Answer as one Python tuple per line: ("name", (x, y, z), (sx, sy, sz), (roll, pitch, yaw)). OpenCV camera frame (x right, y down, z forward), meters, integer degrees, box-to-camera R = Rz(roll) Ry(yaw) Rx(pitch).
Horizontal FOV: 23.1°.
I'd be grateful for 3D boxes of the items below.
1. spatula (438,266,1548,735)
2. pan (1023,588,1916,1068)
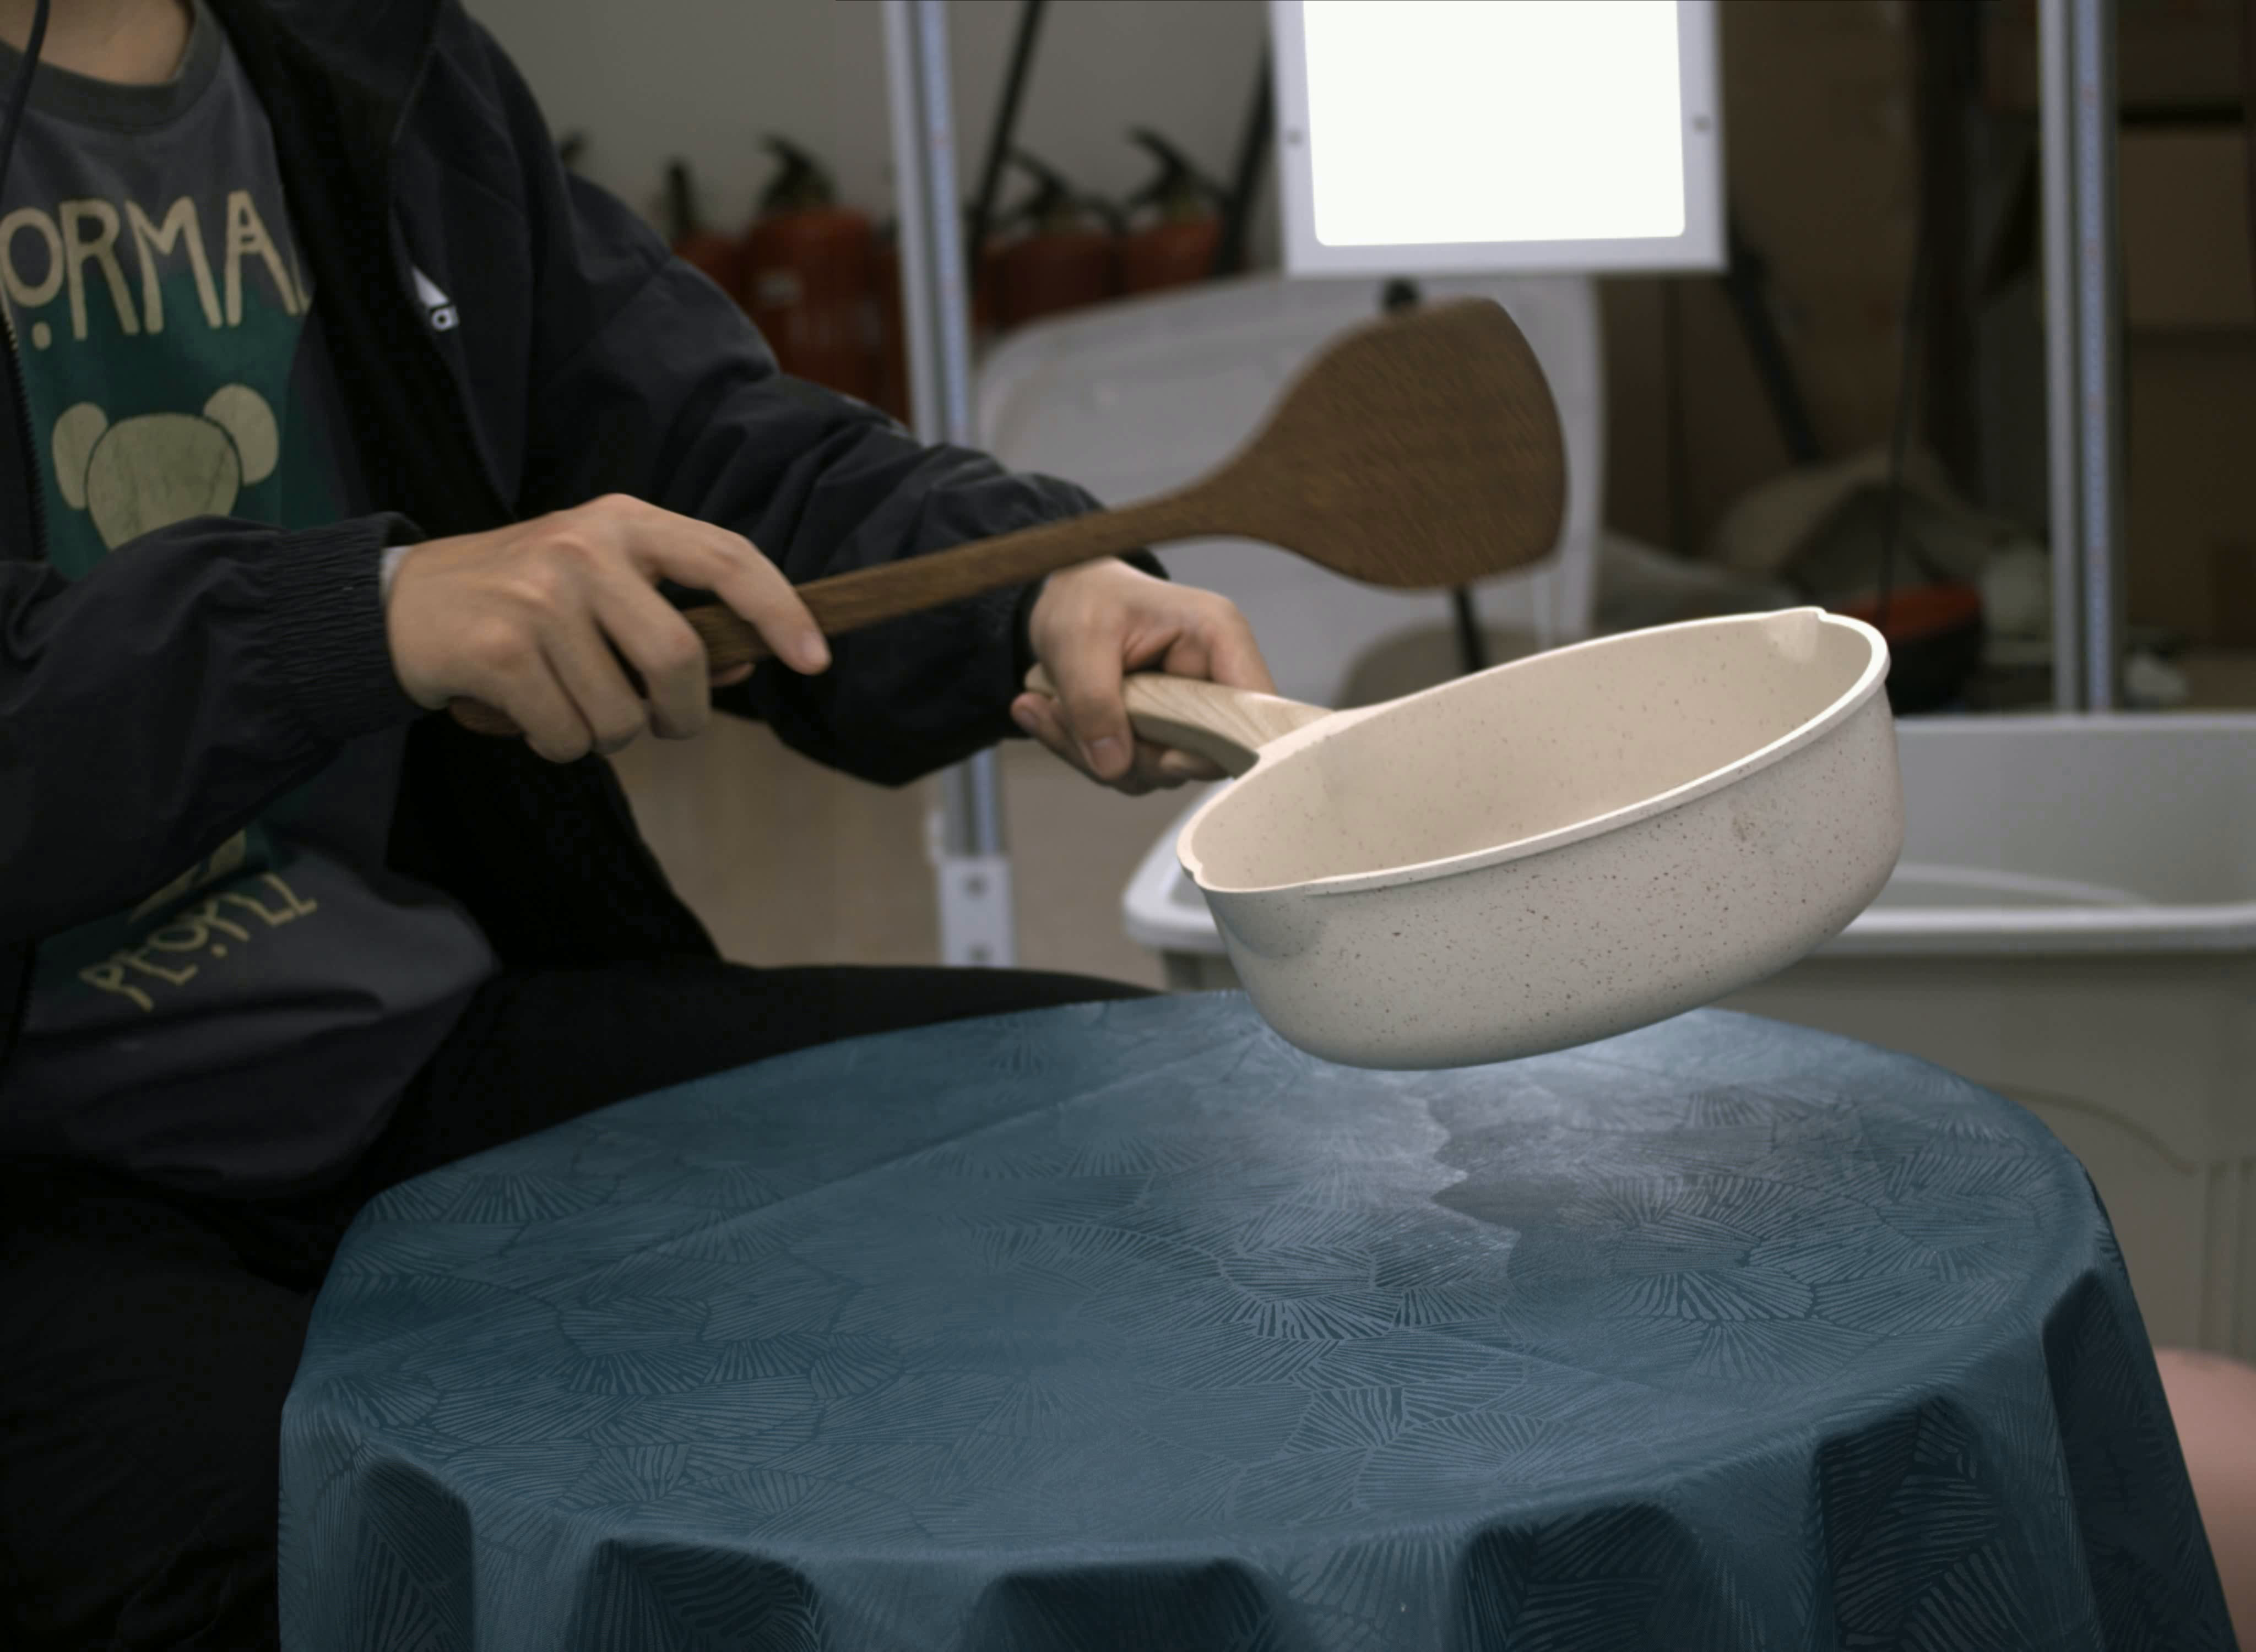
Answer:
("spatula", (-0.049, -0.091, 1.821), (0.389, 0.096, 0.015), (-16, 0, 13))
("pan", (0.100, -0.005, 1.944), (0.258, 0.102, 0.443), (-27, 16, -27))
